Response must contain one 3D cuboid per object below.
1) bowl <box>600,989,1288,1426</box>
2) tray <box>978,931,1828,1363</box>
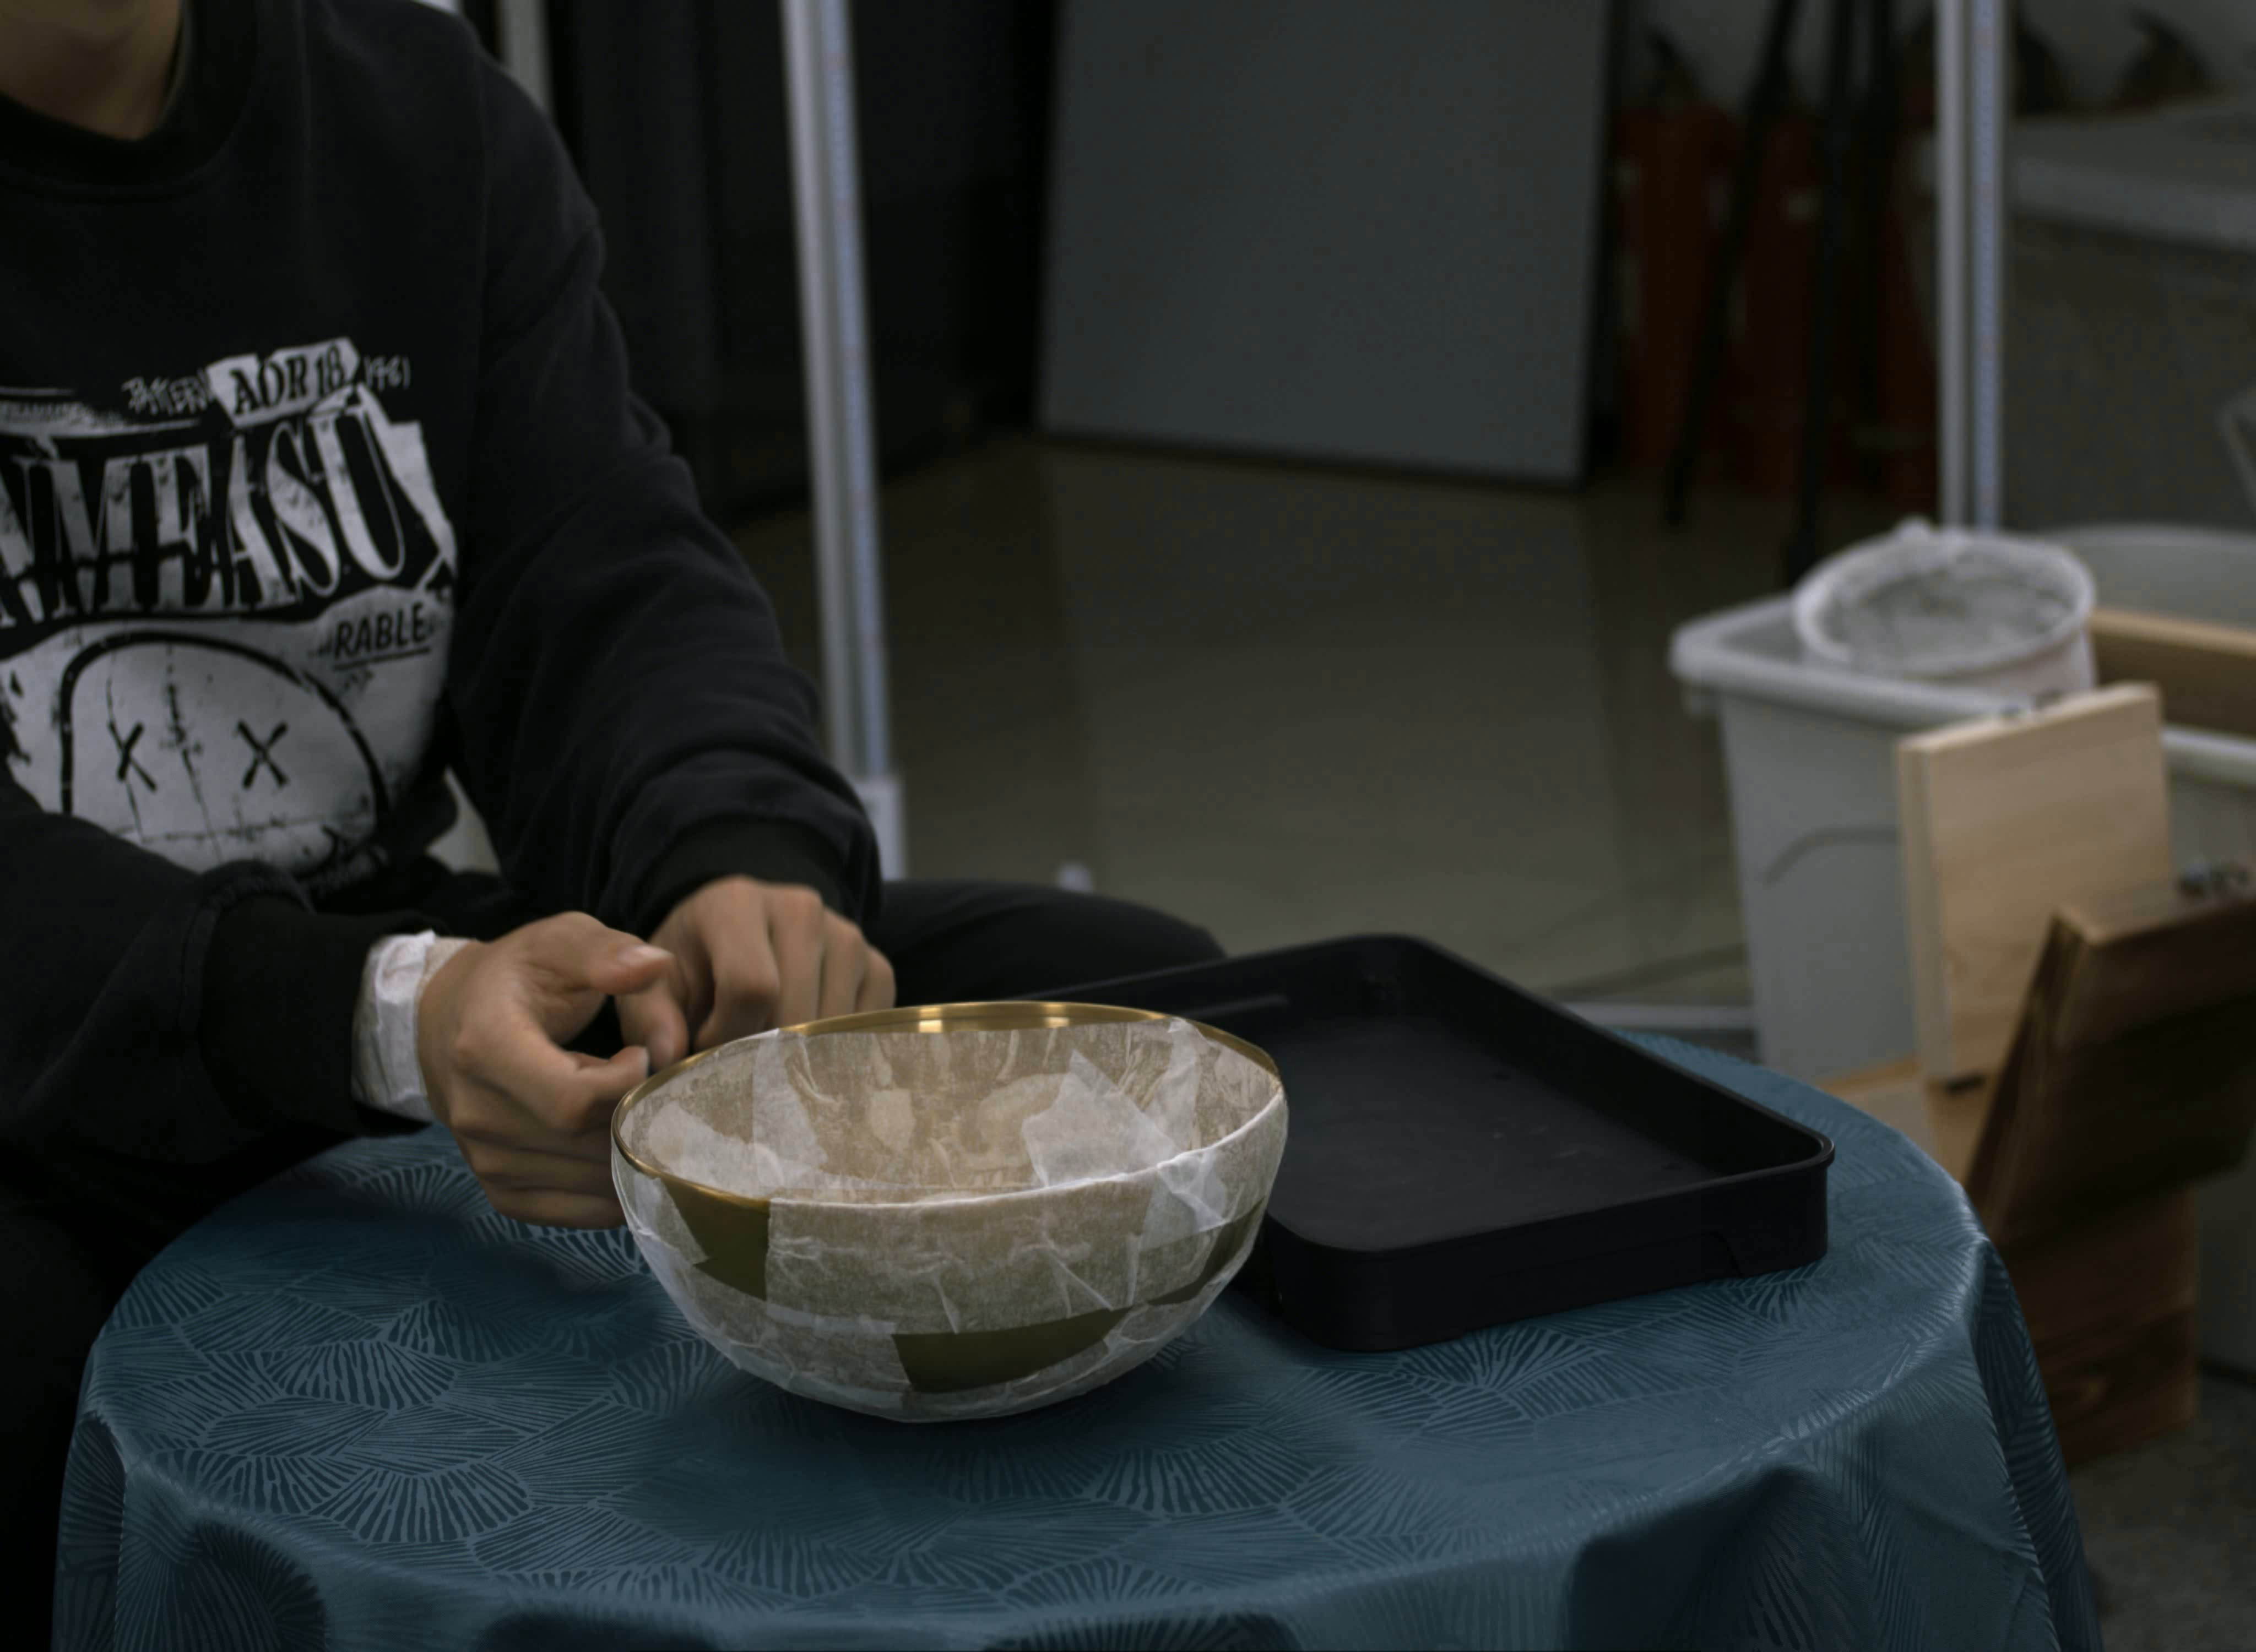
[{"bbox_3d":[-0.050,0.120,1.597,0.212,0.095,0.215,-5,15,0],"label":"bowl"},{"bbox_3d":[0.080,0.099,1.765,0.180,0.037,0.321,-9,16,-21],"label":"tray"}]
